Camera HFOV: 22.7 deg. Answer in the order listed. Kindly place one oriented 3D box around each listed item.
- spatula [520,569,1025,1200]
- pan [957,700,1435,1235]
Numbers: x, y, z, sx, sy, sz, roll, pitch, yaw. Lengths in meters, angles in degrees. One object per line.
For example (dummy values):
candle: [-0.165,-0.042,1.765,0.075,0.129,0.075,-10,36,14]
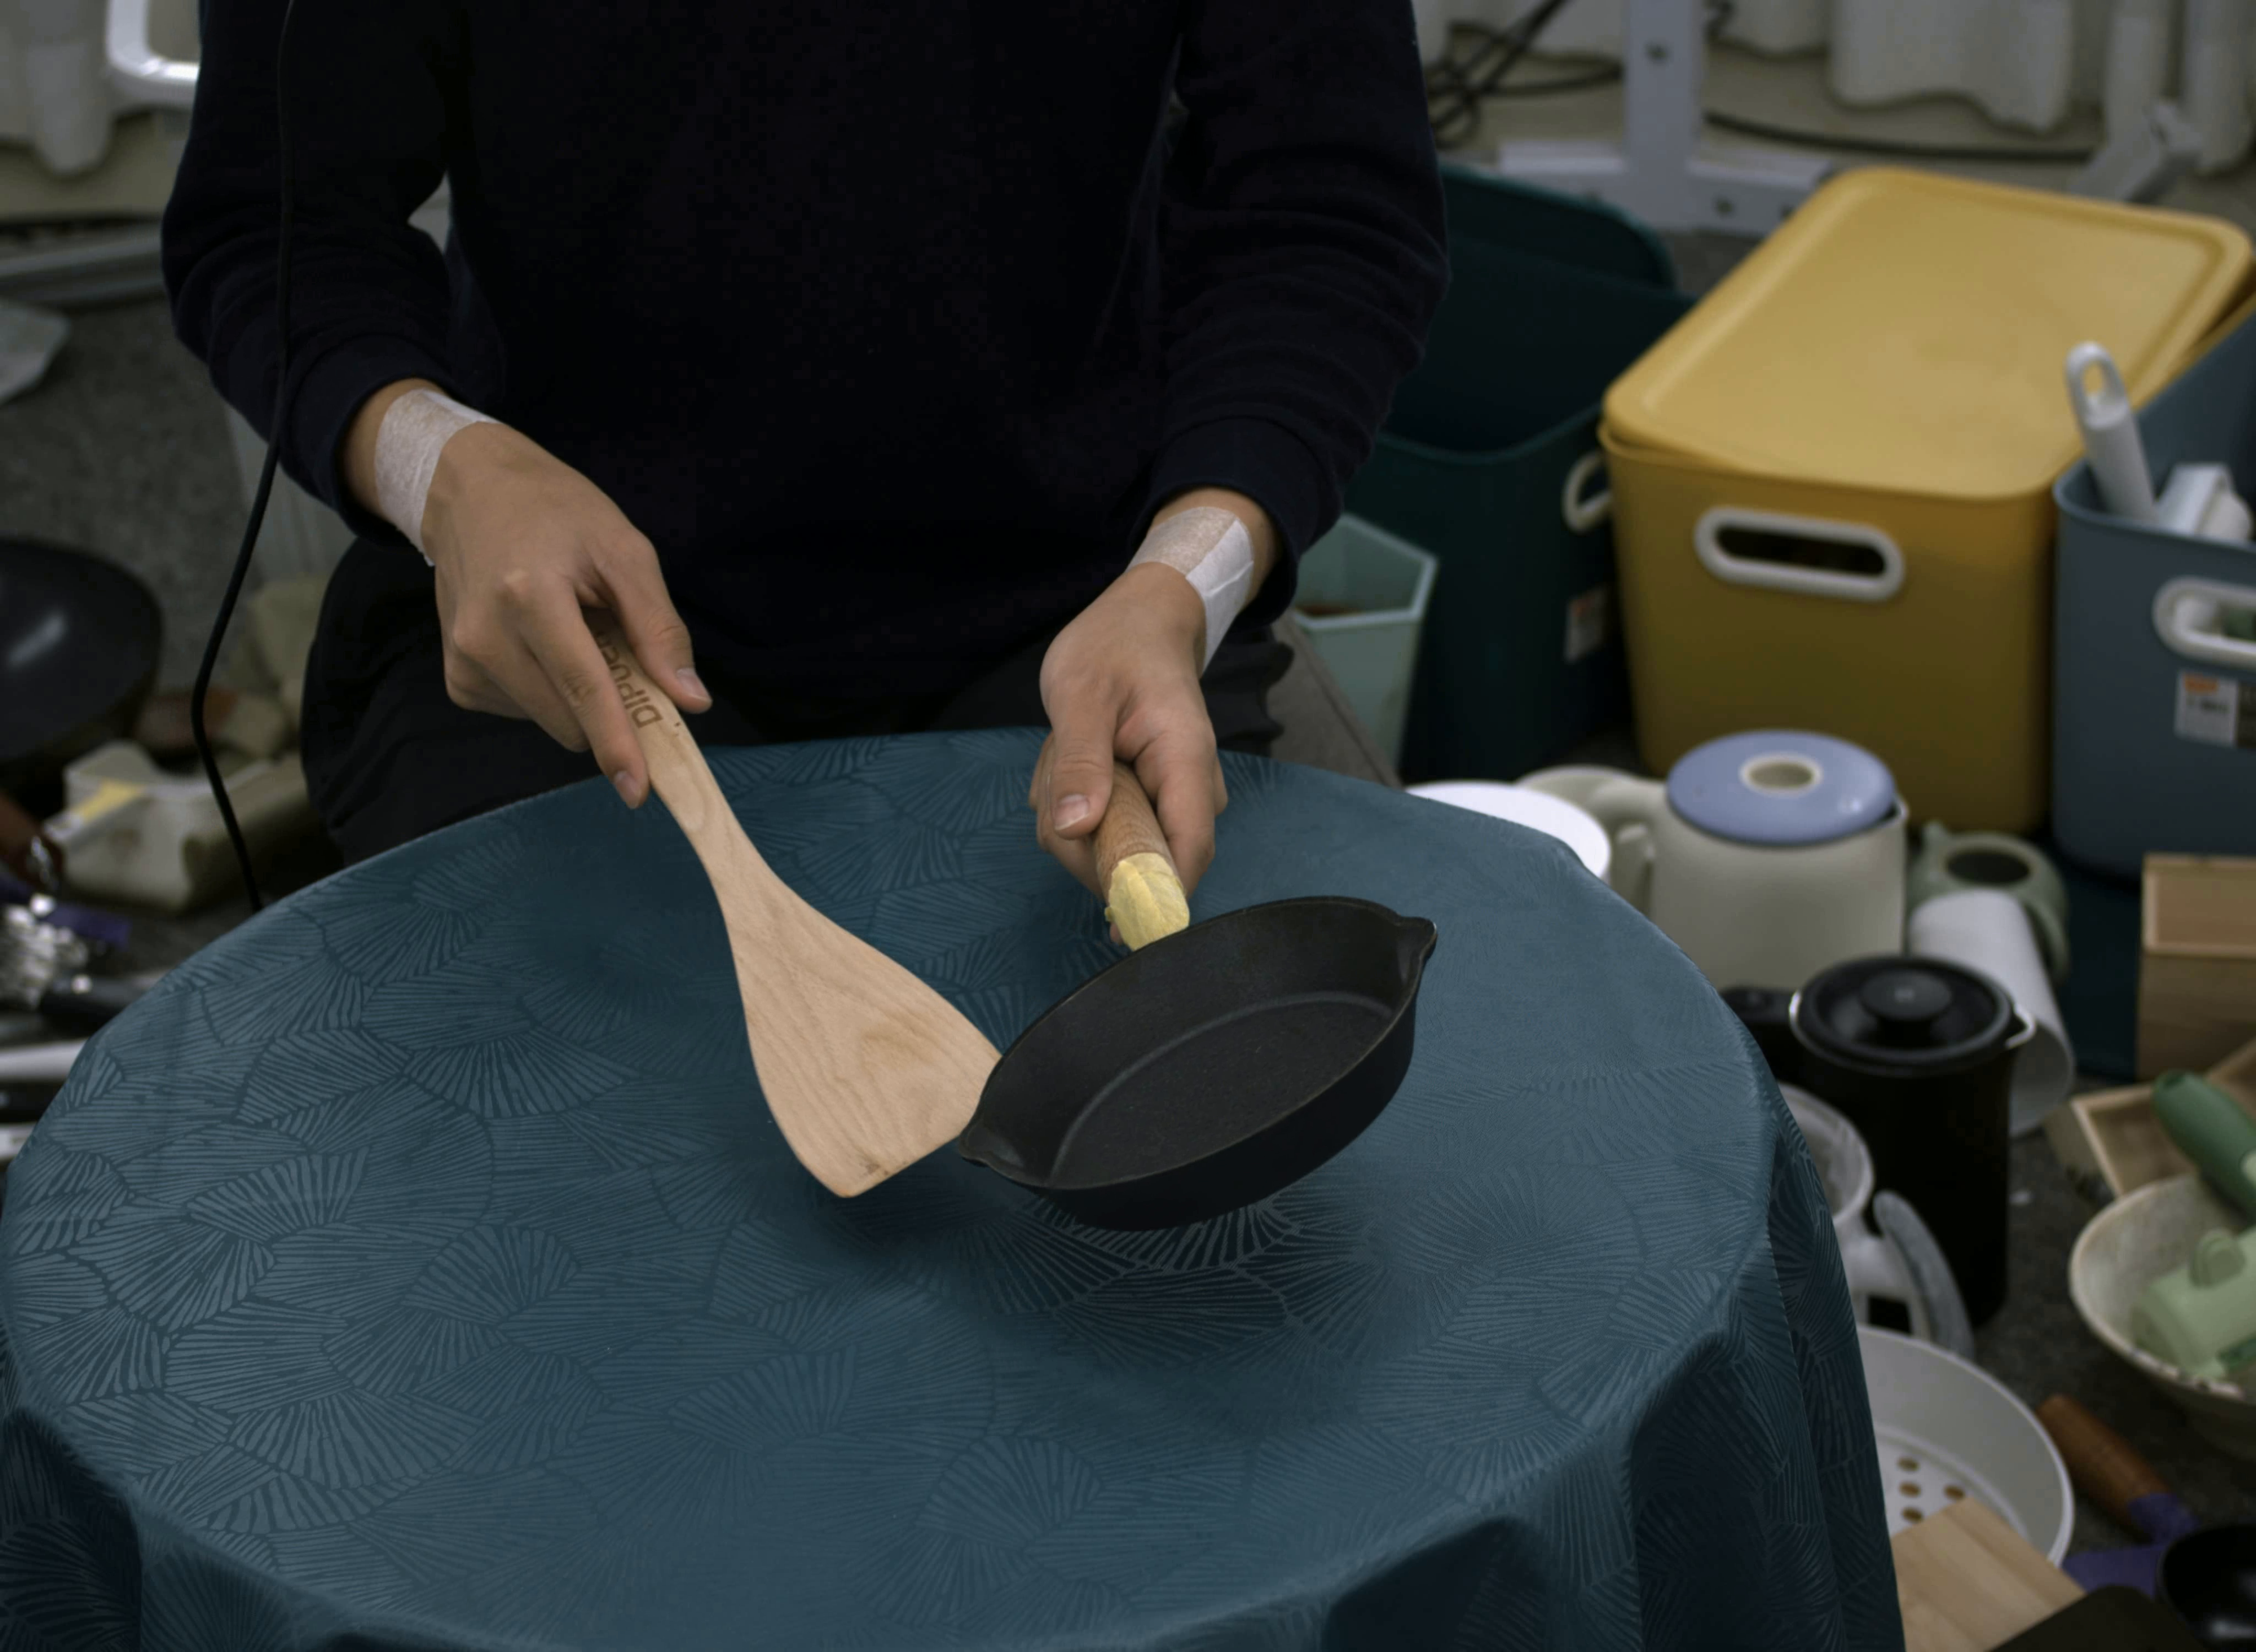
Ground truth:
spatula: [-0.135,0.010,1.927,0.080,0.016,0.331,-21,49,-18]
pan: [0.014,0.040,1.881,0.168,0.049,0.328,-24,25,3]
